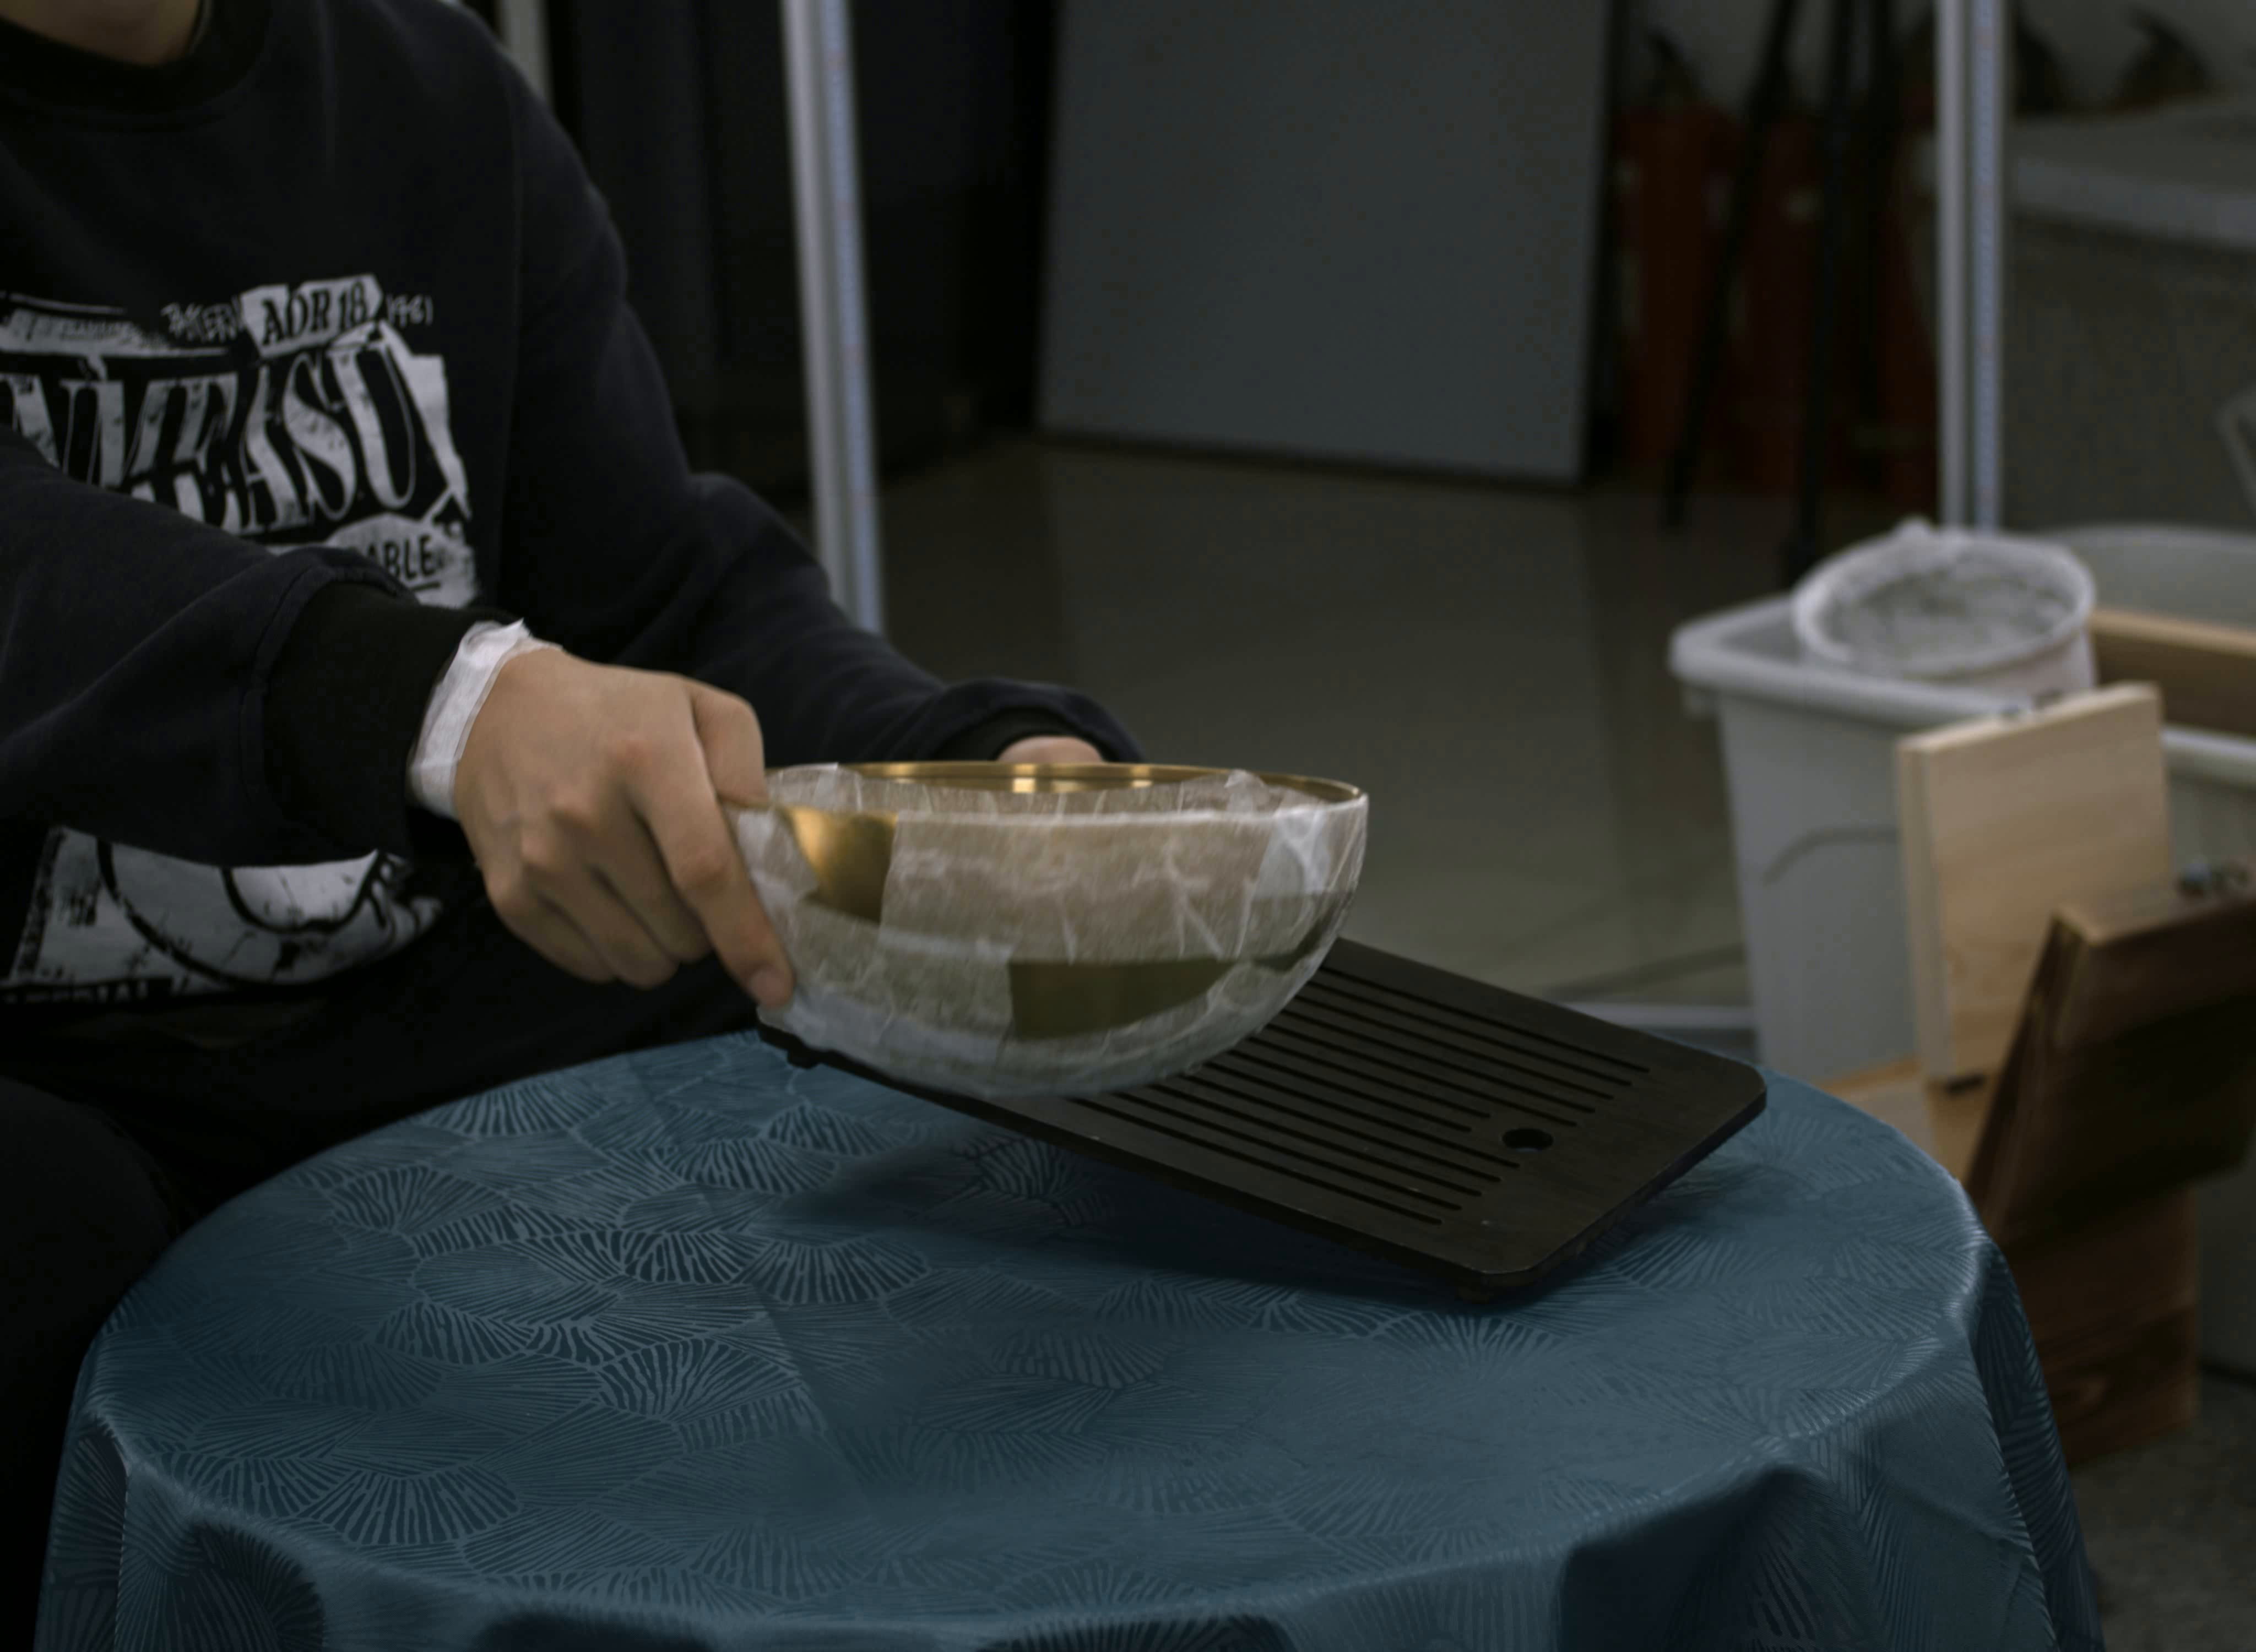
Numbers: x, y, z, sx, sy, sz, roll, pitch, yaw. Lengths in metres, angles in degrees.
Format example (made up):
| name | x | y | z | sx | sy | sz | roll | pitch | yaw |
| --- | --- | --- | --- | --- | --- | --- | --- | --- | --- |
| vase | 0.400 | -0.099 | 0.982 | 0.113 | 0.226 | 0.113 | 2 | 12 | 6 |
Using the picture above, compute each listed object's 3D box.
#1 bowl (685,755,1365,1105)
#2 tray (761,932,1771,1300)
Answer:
| name | x | y | z | sx | sy | sz | roll | pitch | yaw |
| --- | --- | --- | --- | --- | --- | --- | --- | --- | --- |
| bowl | -0.029 | 0.033 | 1.604 | 0.212 | 0.096 | 0.215 | -1 | 5 | -1 |
| tray | 0.043 | 0.079 | 1.769 | 0.308 | 0.019 | 0.167 | 16 | 29 | 33 |
